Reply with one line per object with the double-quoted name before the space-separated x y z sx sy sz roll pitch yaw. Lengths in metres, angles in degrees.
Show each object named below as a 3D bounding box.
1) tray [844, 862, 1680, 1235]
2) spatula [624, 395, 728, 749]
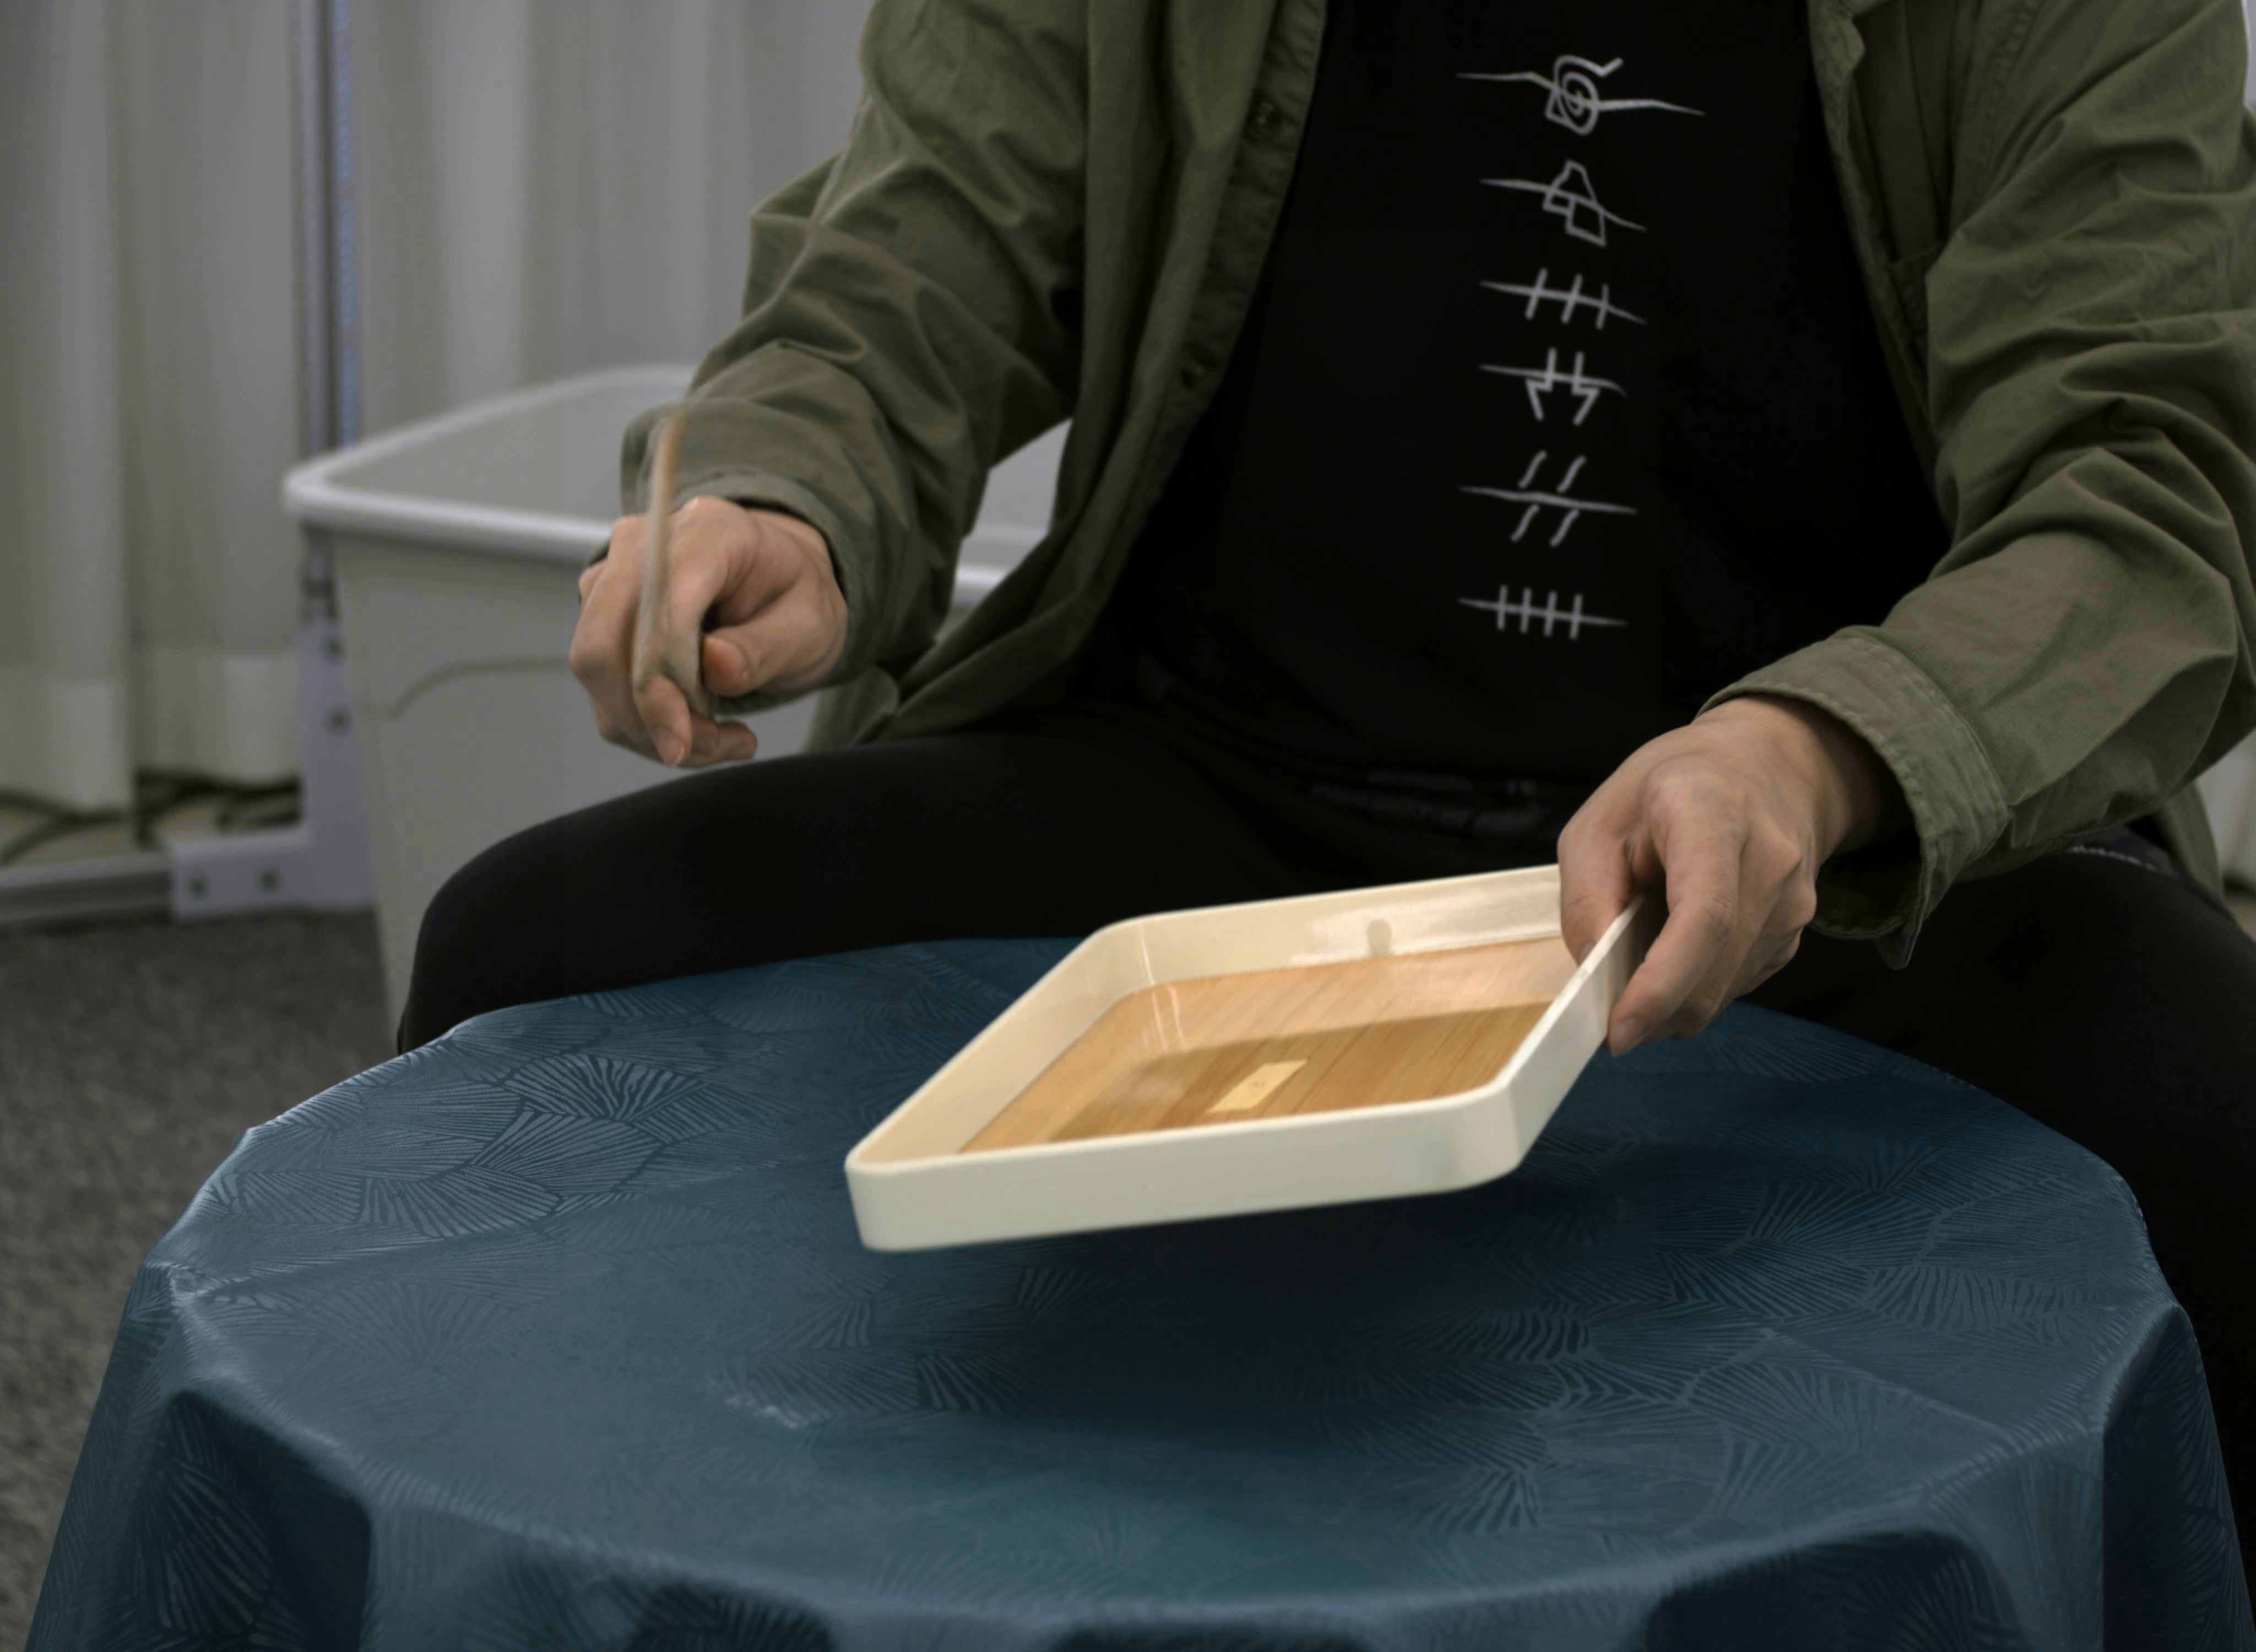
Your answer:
"tray" 0.048 0.062 1.558 0.190 0.027 0.300 -7 9 17
"spatula" -0.135 -0.059 1.595 0.016 0.080 0.328 5 -8 1
